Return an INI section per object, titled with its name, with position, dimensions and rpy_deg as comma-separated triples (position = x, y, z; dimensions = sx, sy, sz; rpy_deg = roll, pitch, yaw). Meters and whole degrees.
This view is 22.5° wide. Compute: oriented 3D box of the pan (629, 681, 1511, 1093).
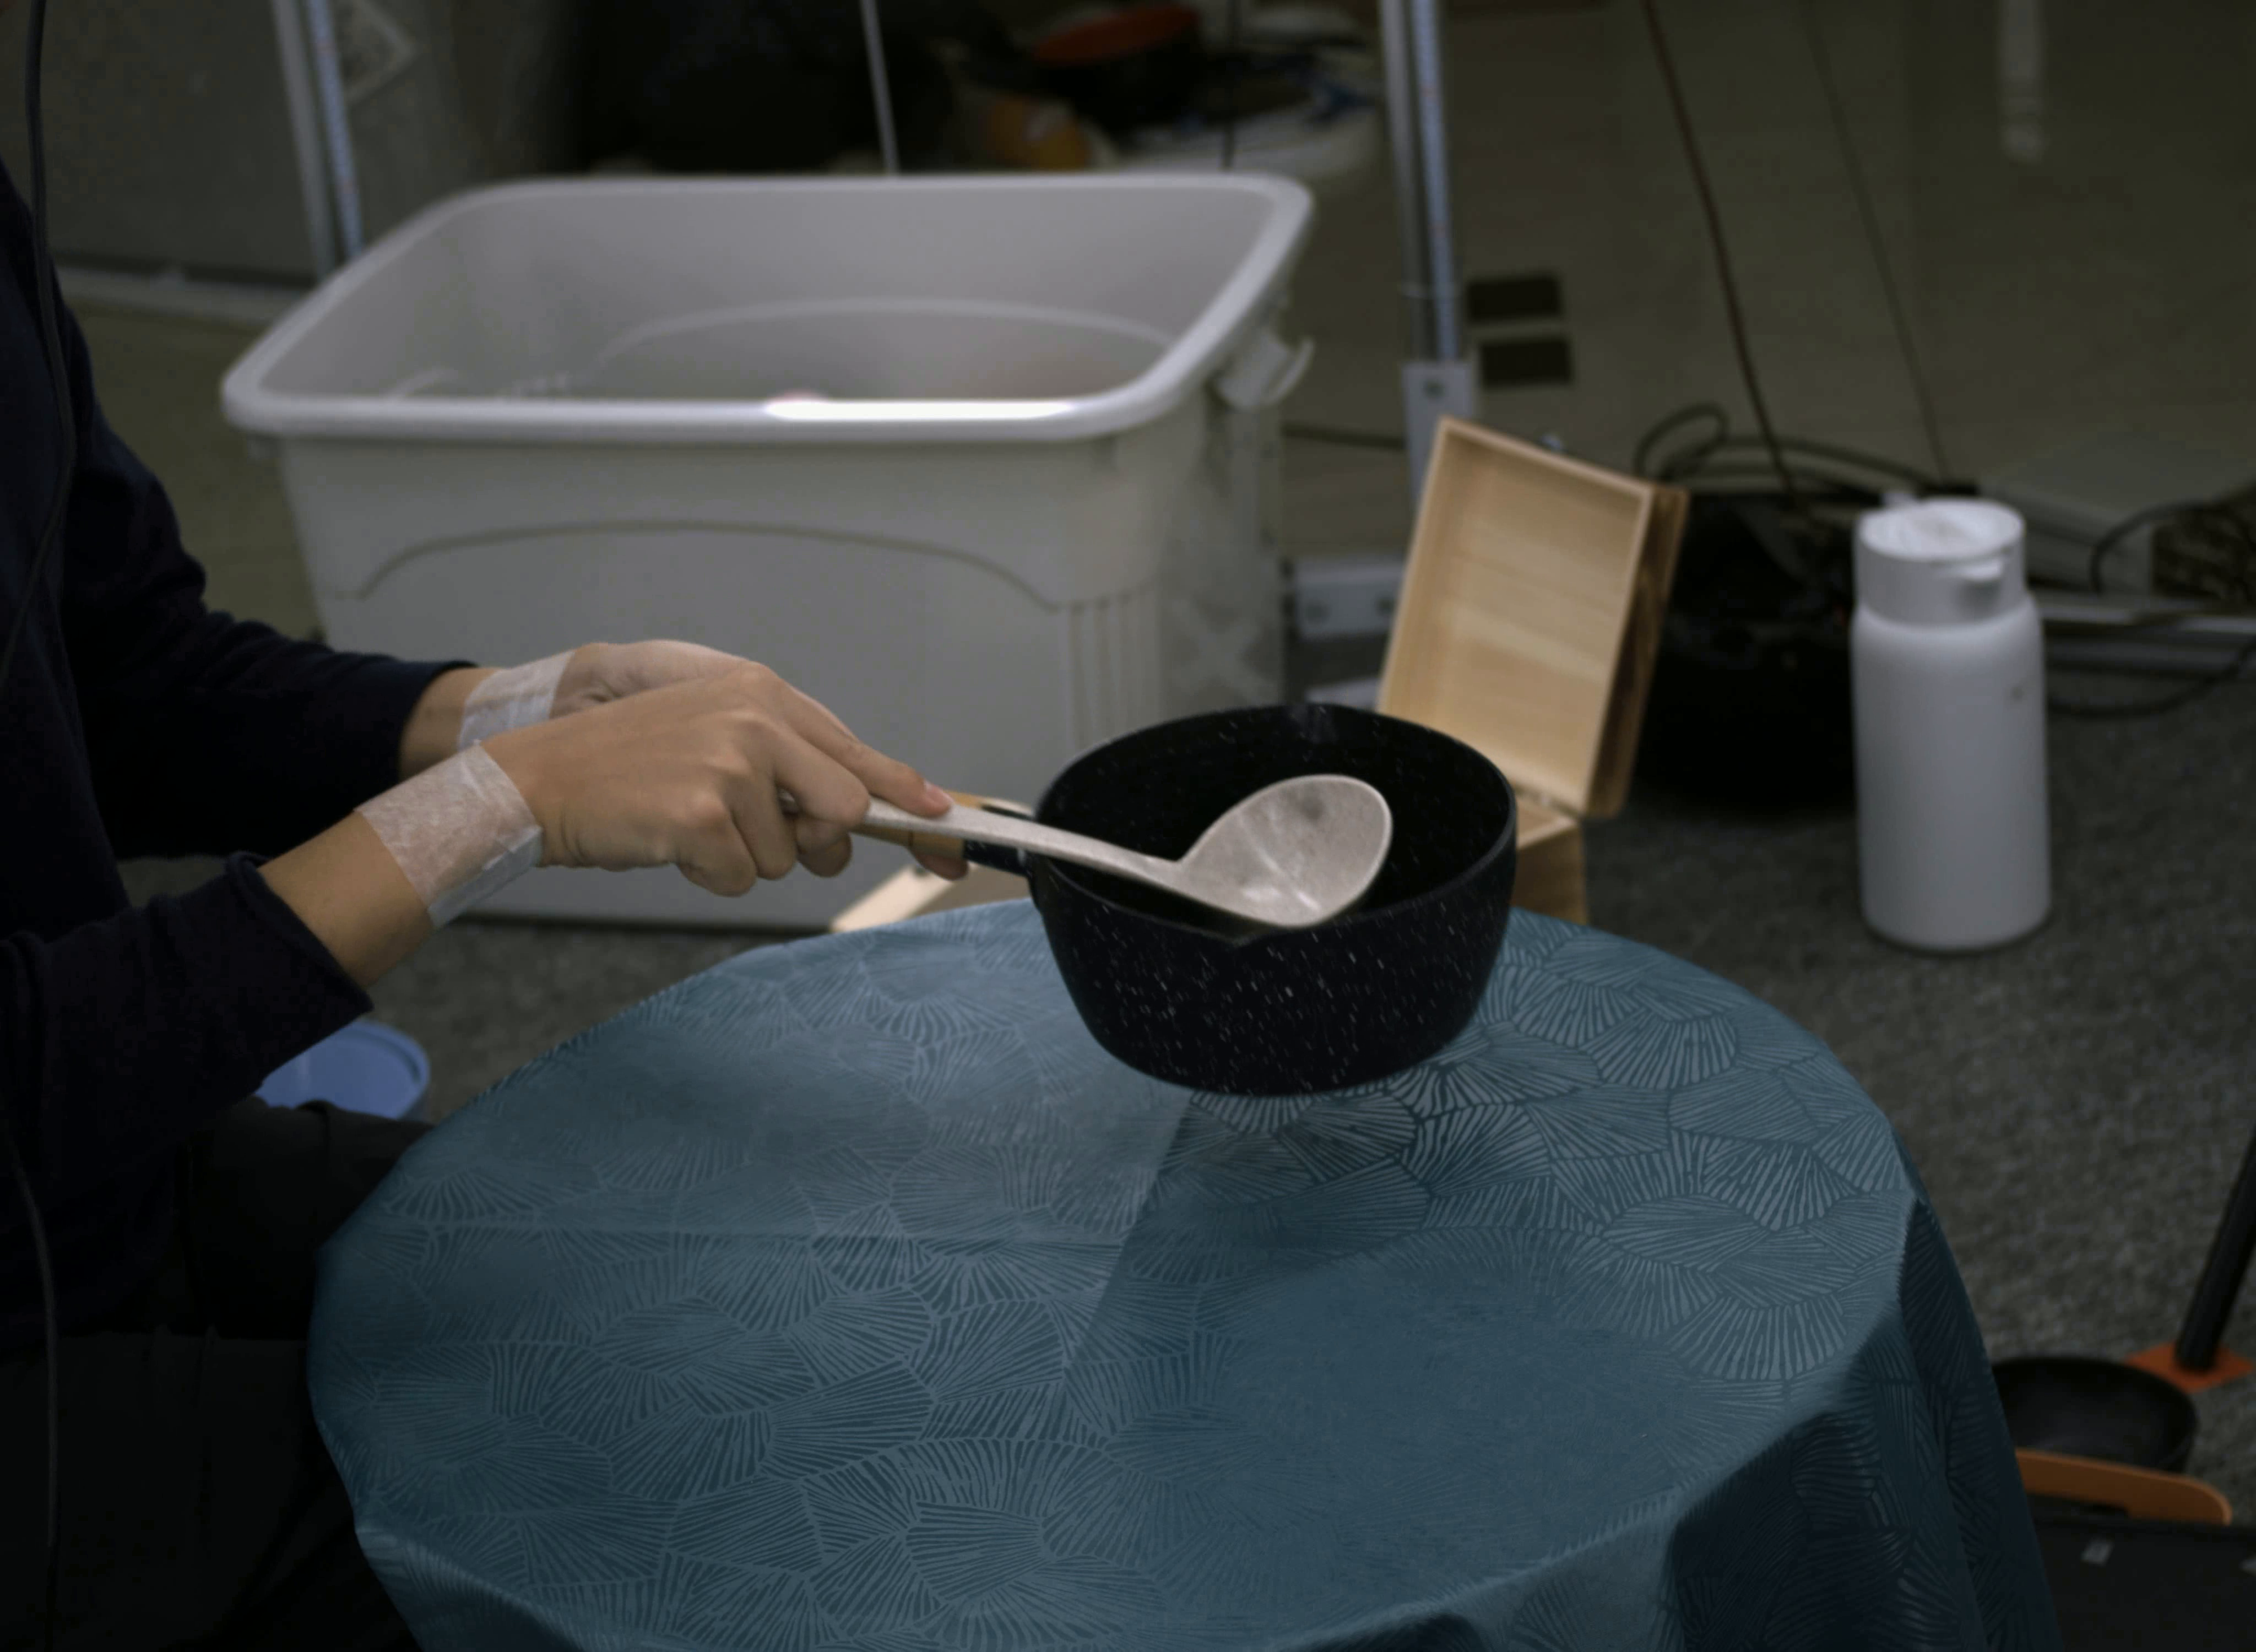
[pan]
position = -0.025, 0.014, 2.162
dimensions = 0.342, 0.110, 0.204
rpy_deg = 4, 29, 11

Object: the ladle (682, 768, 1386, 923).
[ladle]
position = -0.032, -0.013, 2.107
dimensions = 0.276, 0.070, 0.088
rpy_deg = 14, 27, -30
